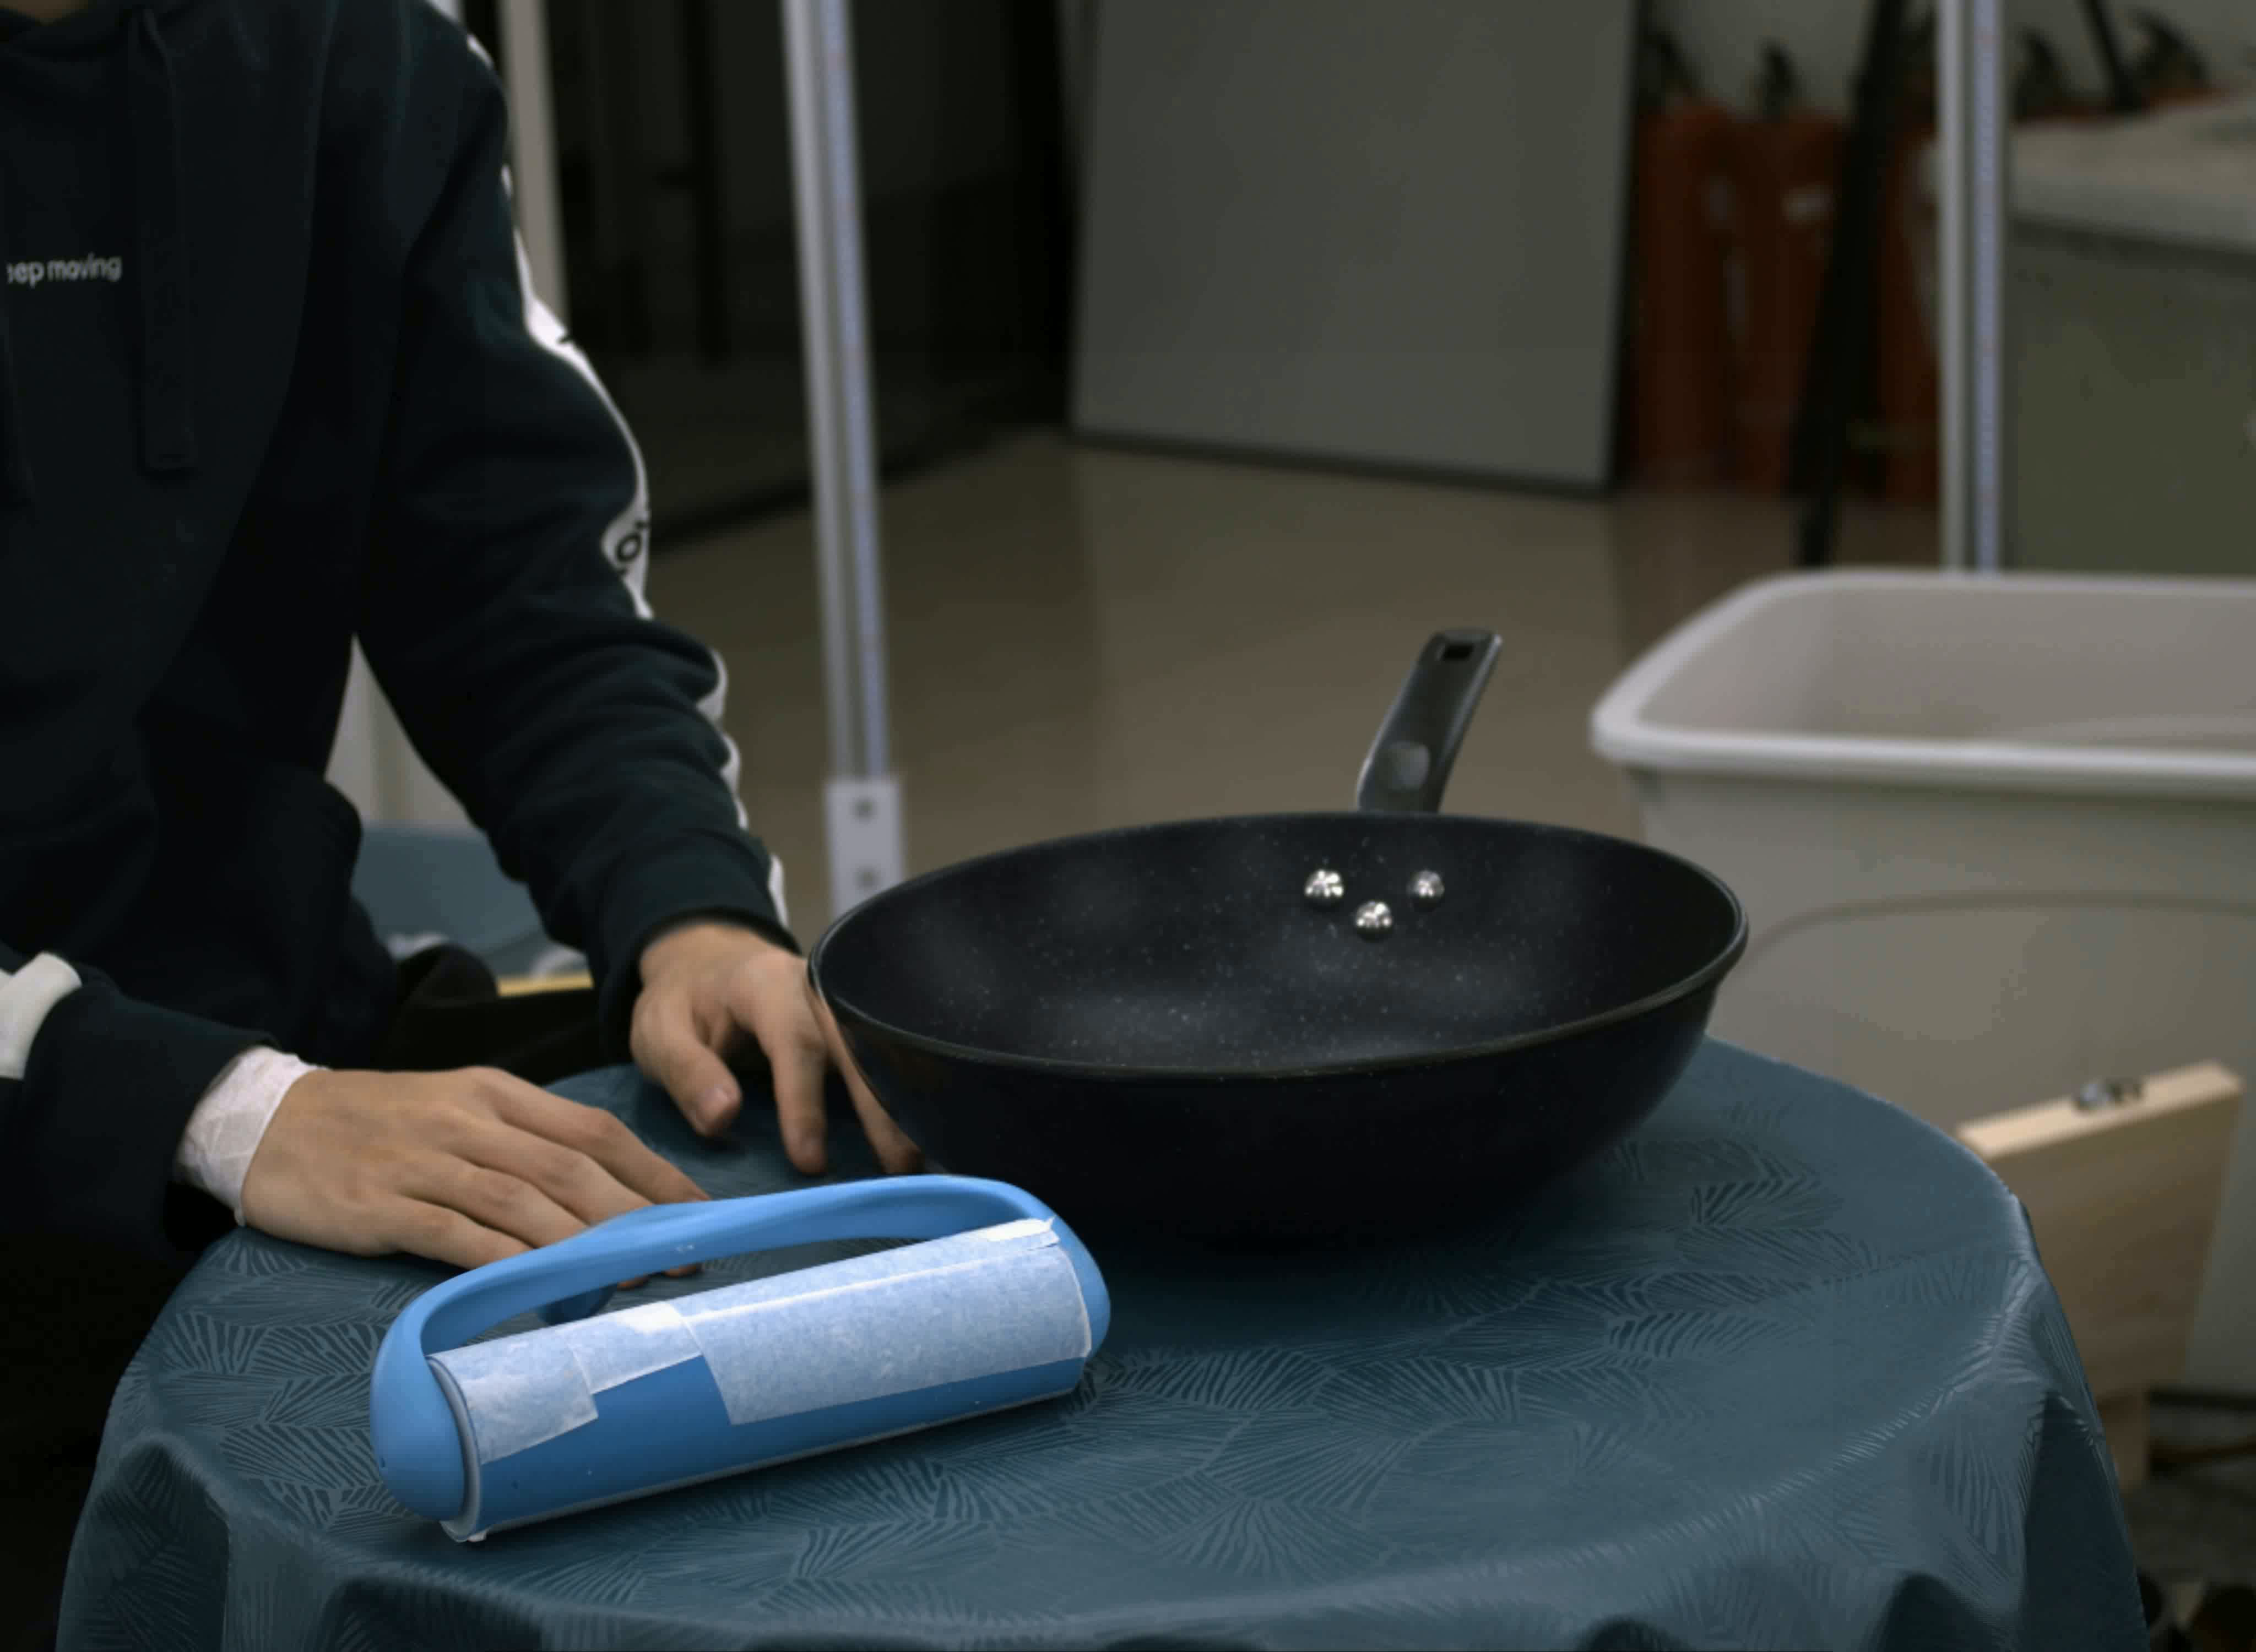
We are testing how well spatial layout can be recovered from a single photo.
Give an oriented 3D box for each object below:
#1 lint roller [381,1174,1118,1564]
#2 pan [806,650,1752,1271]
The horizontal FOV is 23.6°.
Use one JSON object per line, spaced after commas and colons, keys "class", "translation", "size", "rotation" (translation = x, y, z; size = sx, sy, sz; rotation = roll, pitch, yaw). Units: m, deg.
{"class": "lint roller", "translation": [-0.135, 0.146, 1.593], "size": [0.224, 0.068, 0.182], "rotation": [-15, 20, -27]}
{"class": "pan", "translation": [0.070, 0.046, 1.832], "size": [0.309, 0.113, 0.473], "rotation": [2, 15, 15]}
